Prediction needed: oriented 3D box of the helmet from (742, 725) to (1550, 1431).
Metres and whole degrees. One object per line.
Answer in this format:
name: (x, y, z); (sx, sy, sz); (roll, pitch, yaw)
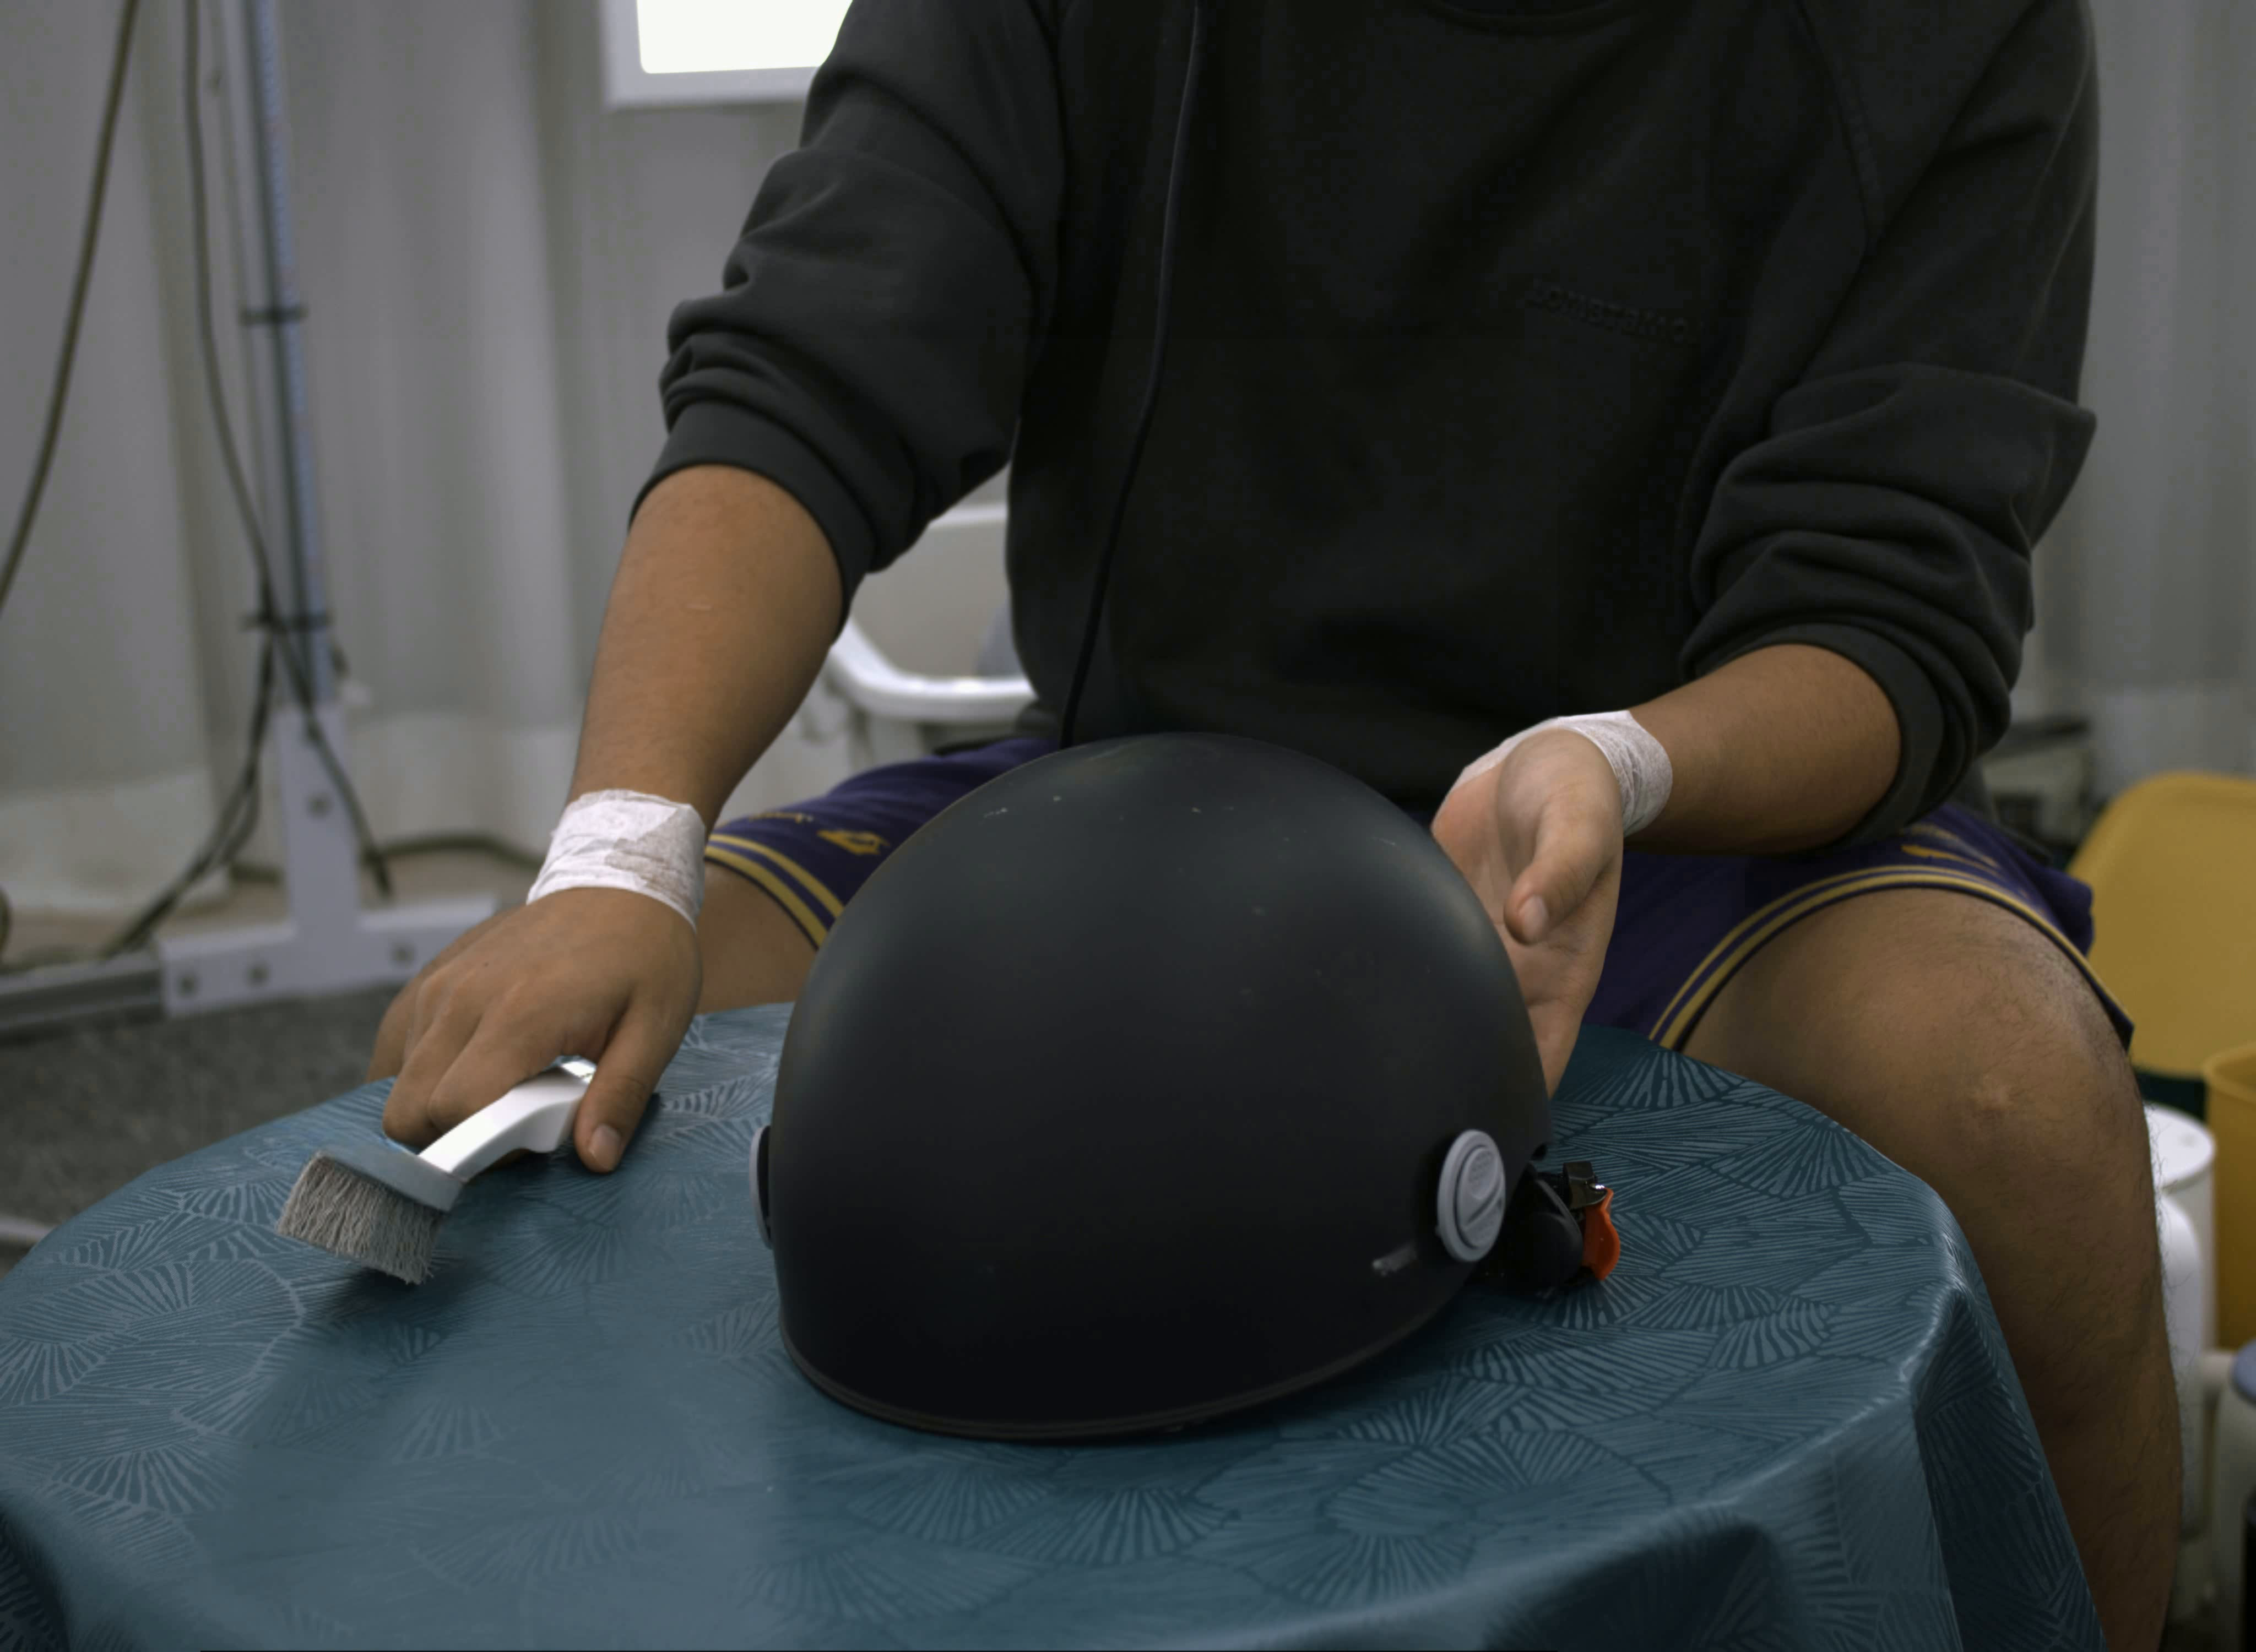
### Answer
helmet: (0.003, 0.061, 1.613); (0.230, 0.166, 0.274); (-1, 16, 23)

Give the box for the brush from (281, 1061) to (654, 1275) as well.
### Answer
brush: (-0.205, 0.108, 1.736); (0.034, 0.050, 0.243); (15, 6, 14)
